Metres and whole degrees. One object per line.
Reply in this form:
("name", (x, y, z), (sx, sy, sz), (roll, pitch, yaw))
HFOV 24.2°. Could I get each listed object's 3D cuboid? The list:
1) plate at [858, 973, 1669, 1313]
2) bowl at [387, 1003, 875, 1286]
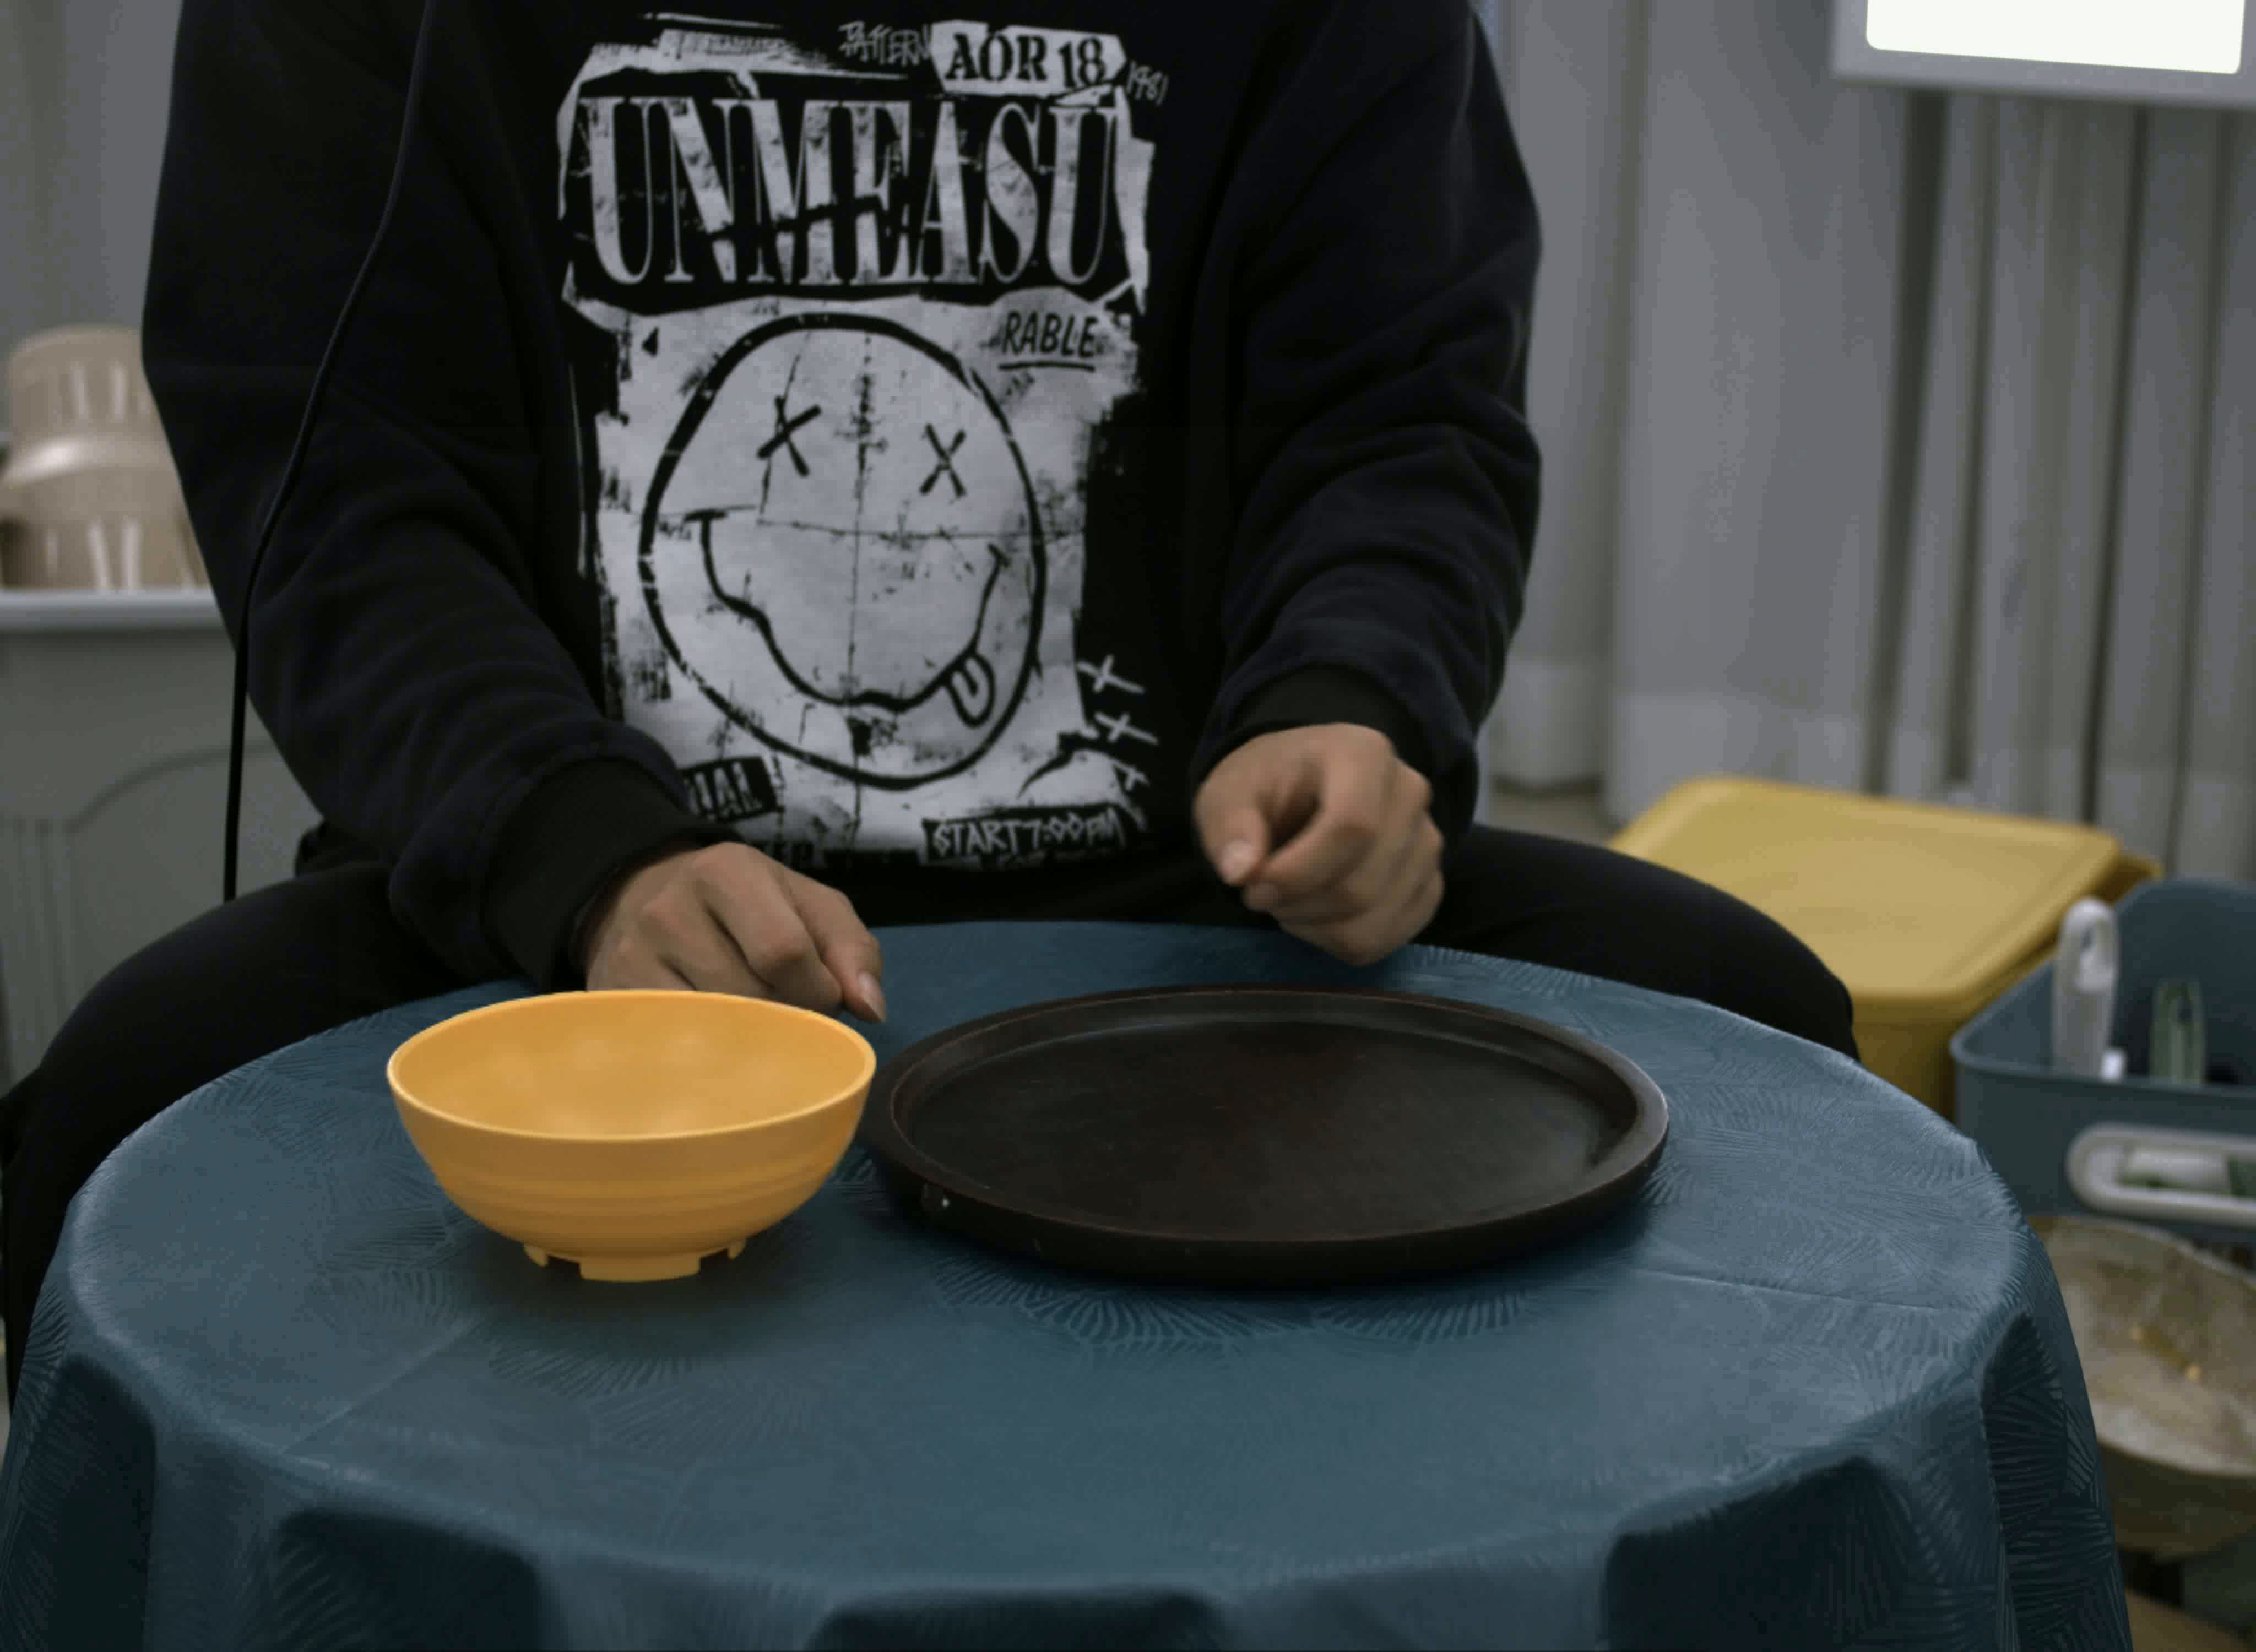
("plate", (0.042, 0.097, 1.647), (0.254, 0.029, 0.253), (-2, 17, 1))
("bowl", (-0.148, 0.099, 1.566), (0.145, 0.060, 0.144), (1, 14, 0))
